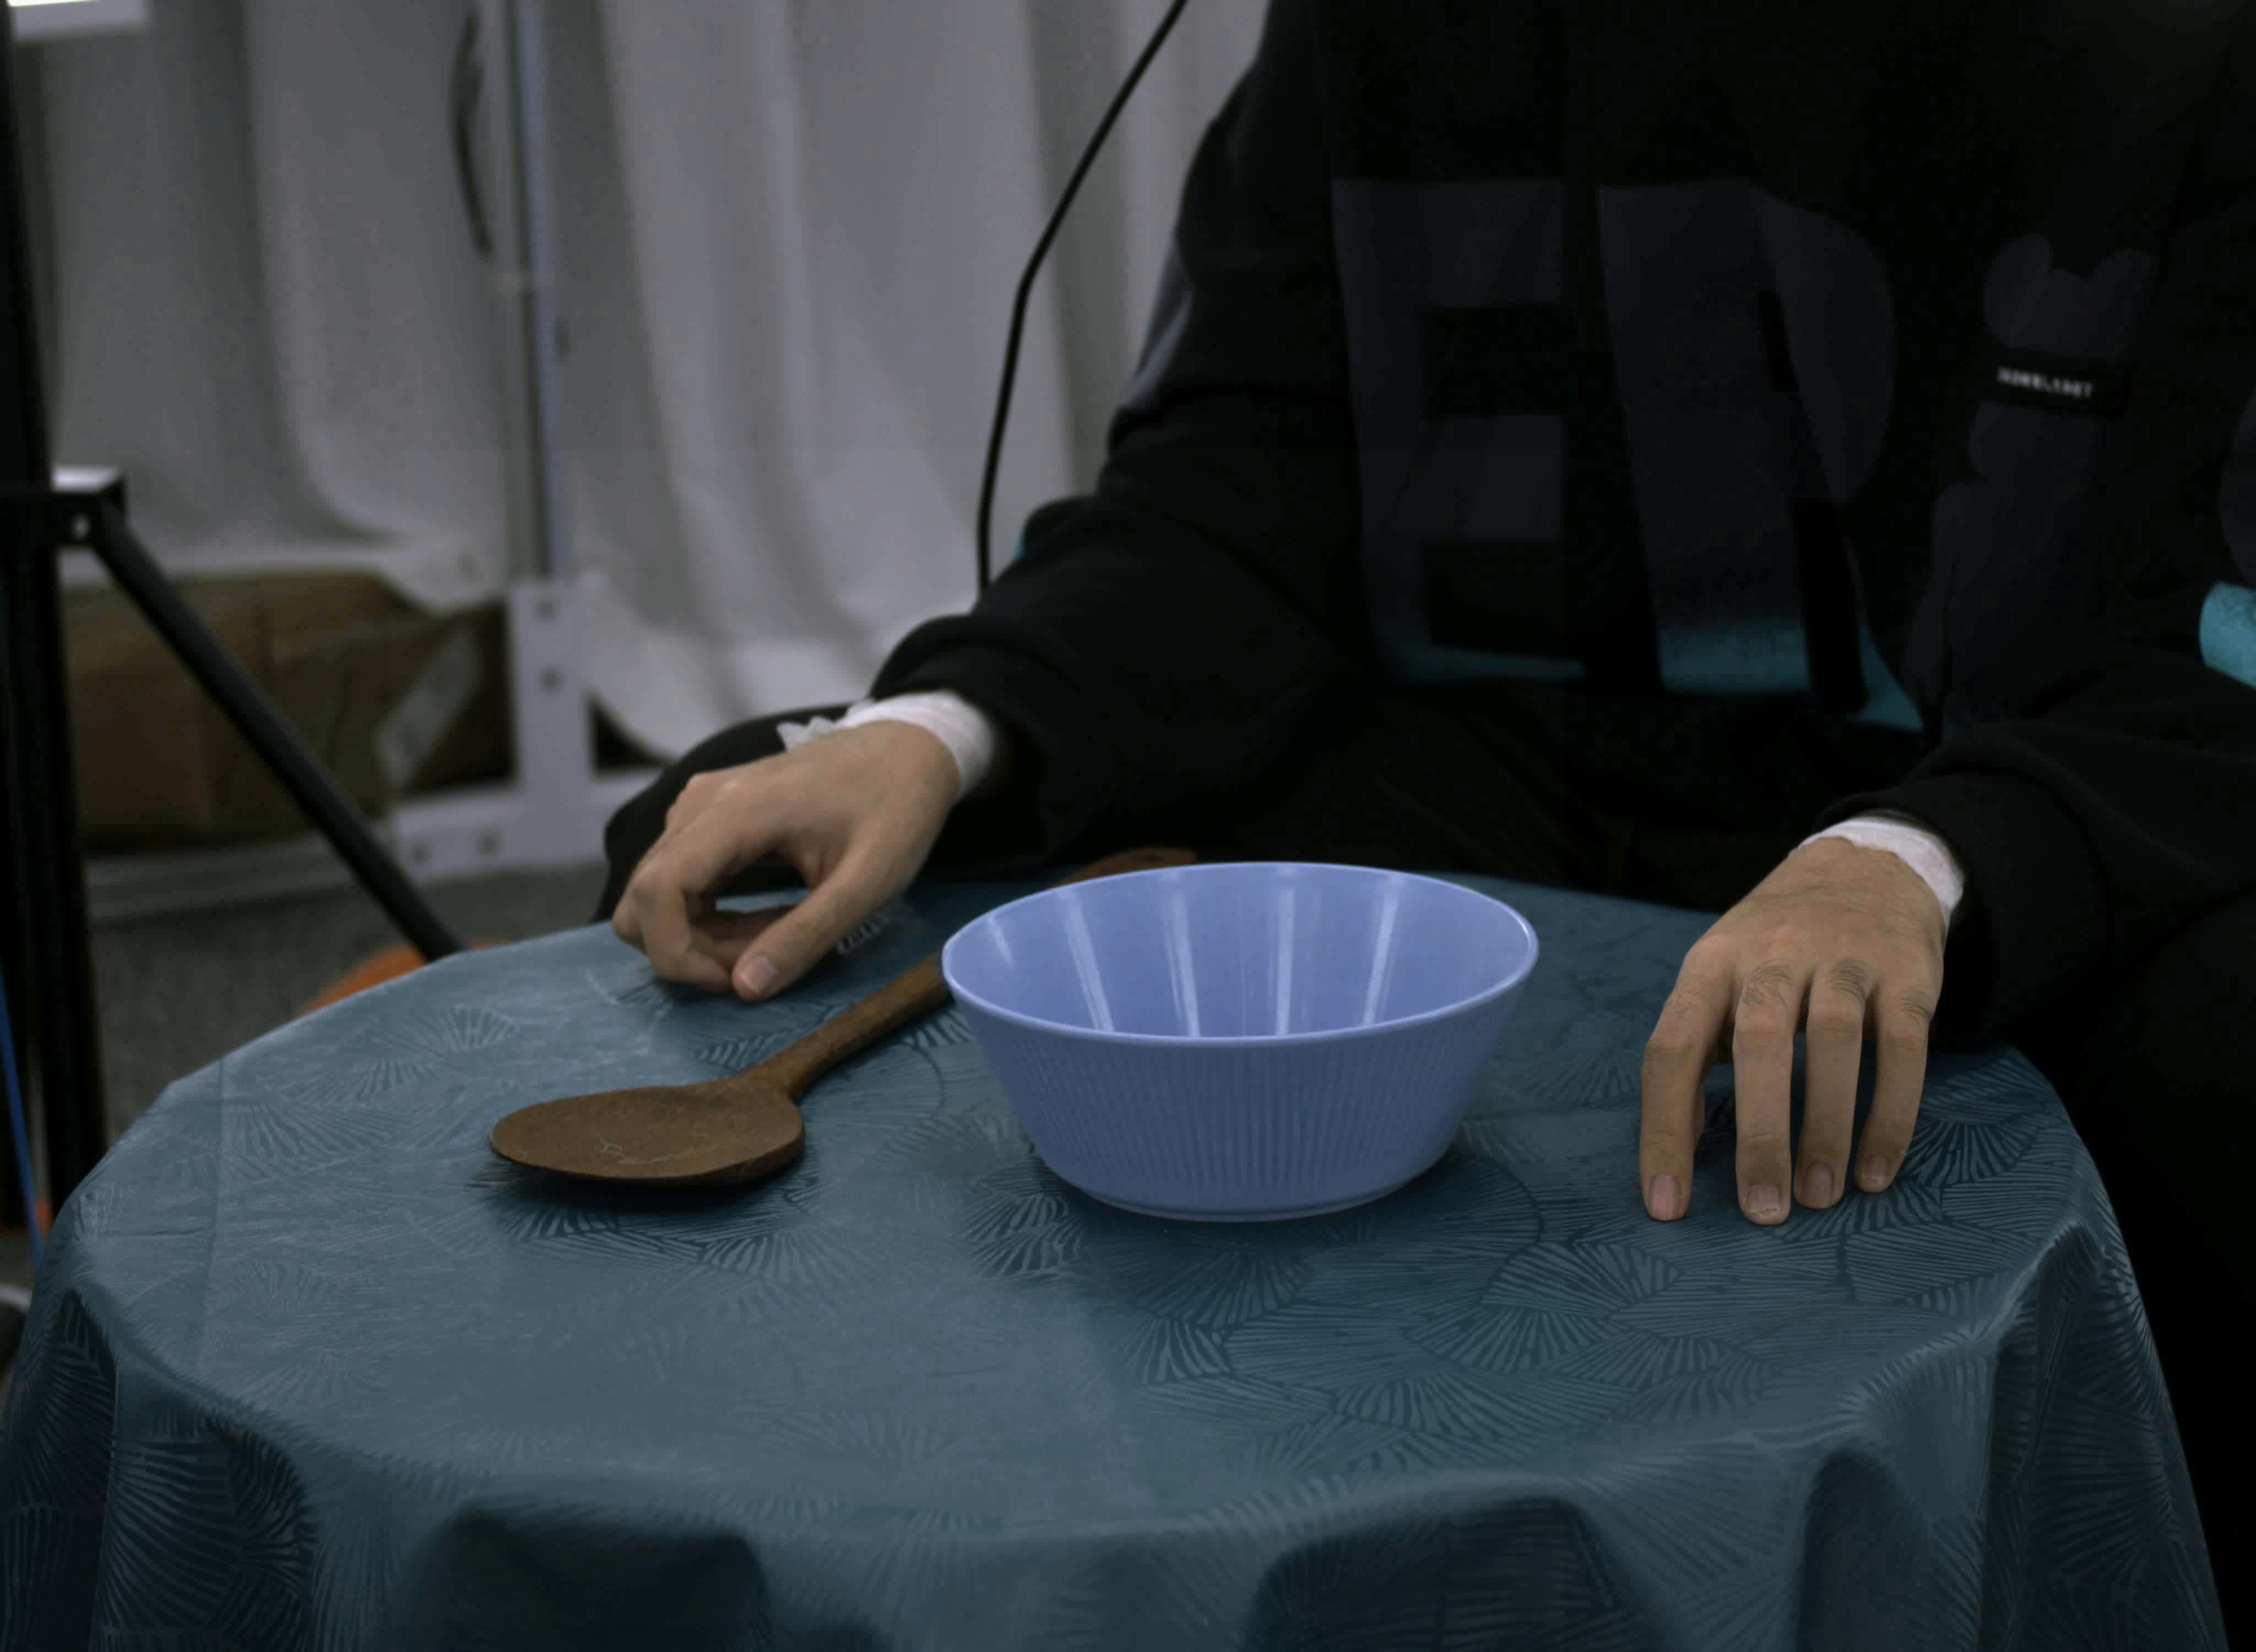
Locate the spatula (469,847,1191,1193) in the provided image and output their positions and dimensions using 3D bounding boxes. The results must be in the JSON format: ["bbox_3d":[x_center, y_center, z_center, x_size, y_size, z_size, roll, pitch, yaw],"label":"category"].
[{"bbox_3d":[-0.075,0.057,1.725,0.098,0.016,0.379,7,18,28],"label":"spatula"}]

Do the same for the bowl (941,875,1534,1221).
[{"bbox_3d":[0.033,0.068,1.569,0.175,0.070,0.177,-2,15,-1],"label":"bowl"}]
